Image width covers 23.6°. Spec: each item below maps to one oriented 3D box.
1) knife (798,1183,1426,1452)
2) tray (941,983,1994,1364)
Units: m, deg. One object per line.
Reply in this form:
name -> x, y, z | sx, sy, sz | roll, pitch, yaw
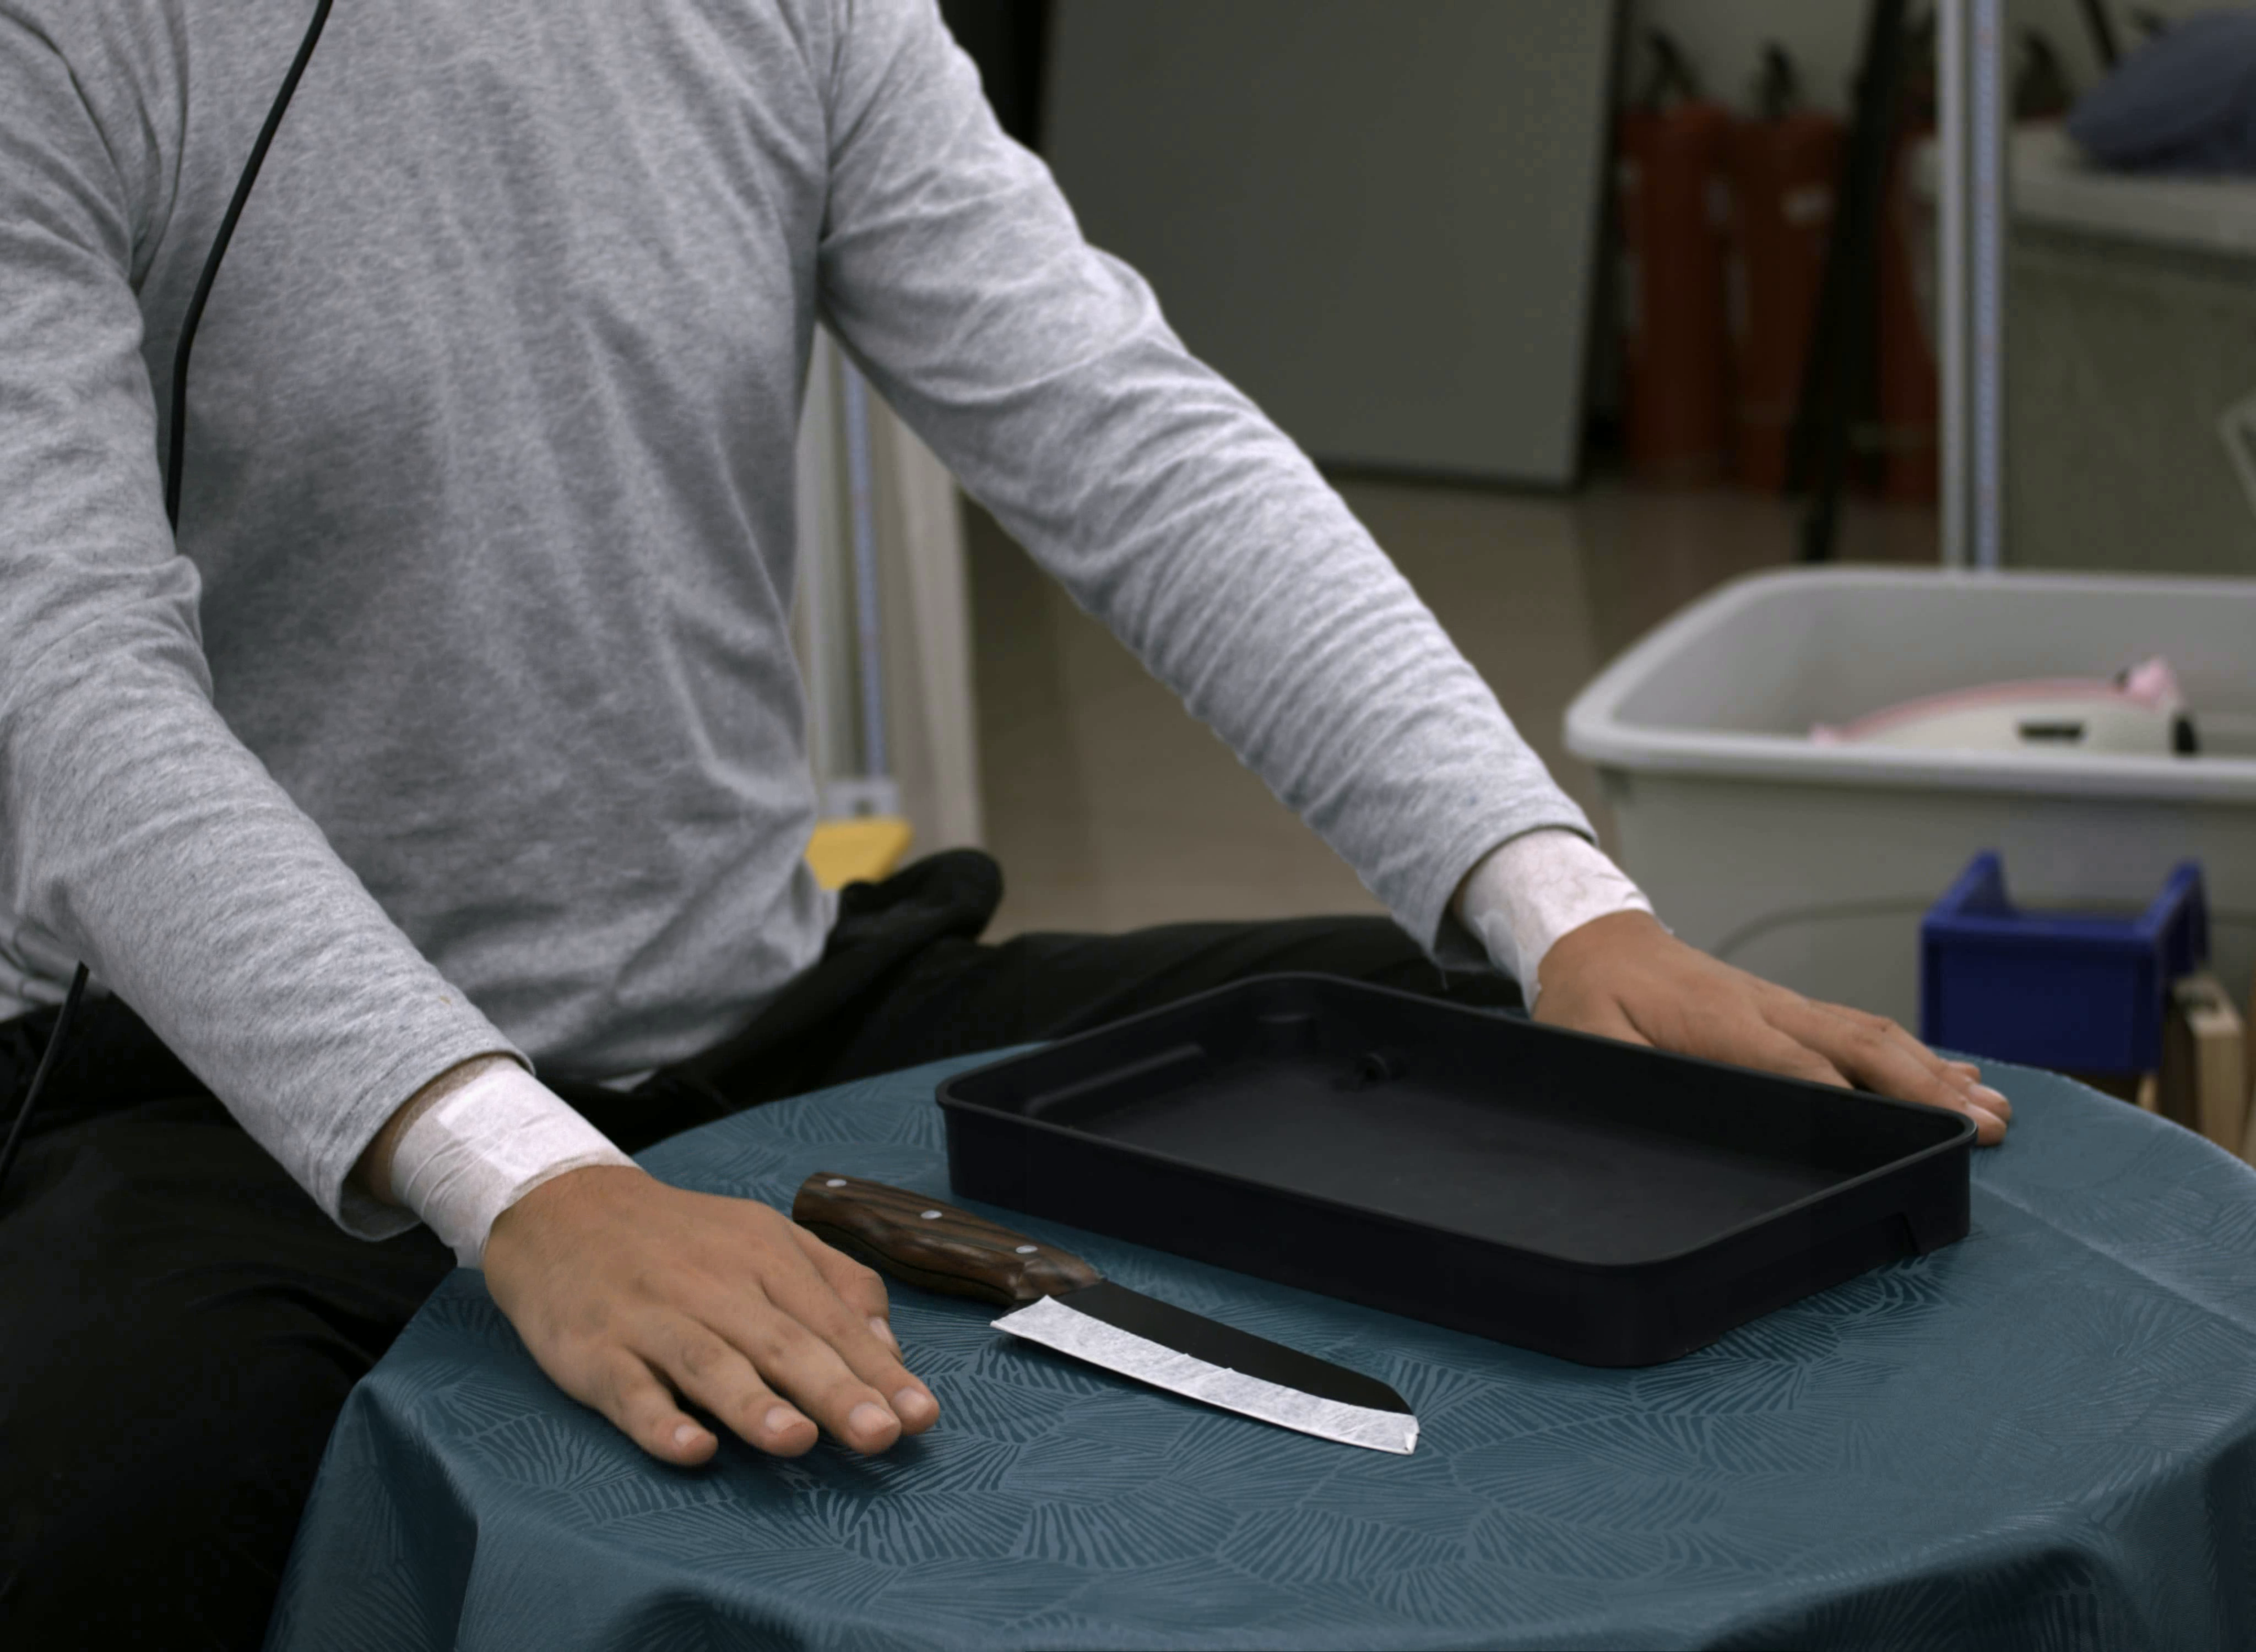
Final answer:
knife -> -0.009, 0.150, 1.631 | 0.049, 0.020, 0.292 | -20, 23, -35
tray -> 0.105, 0.107, 1.728 | 0.321, 0.037, 0.180 | 9, 18, 44
